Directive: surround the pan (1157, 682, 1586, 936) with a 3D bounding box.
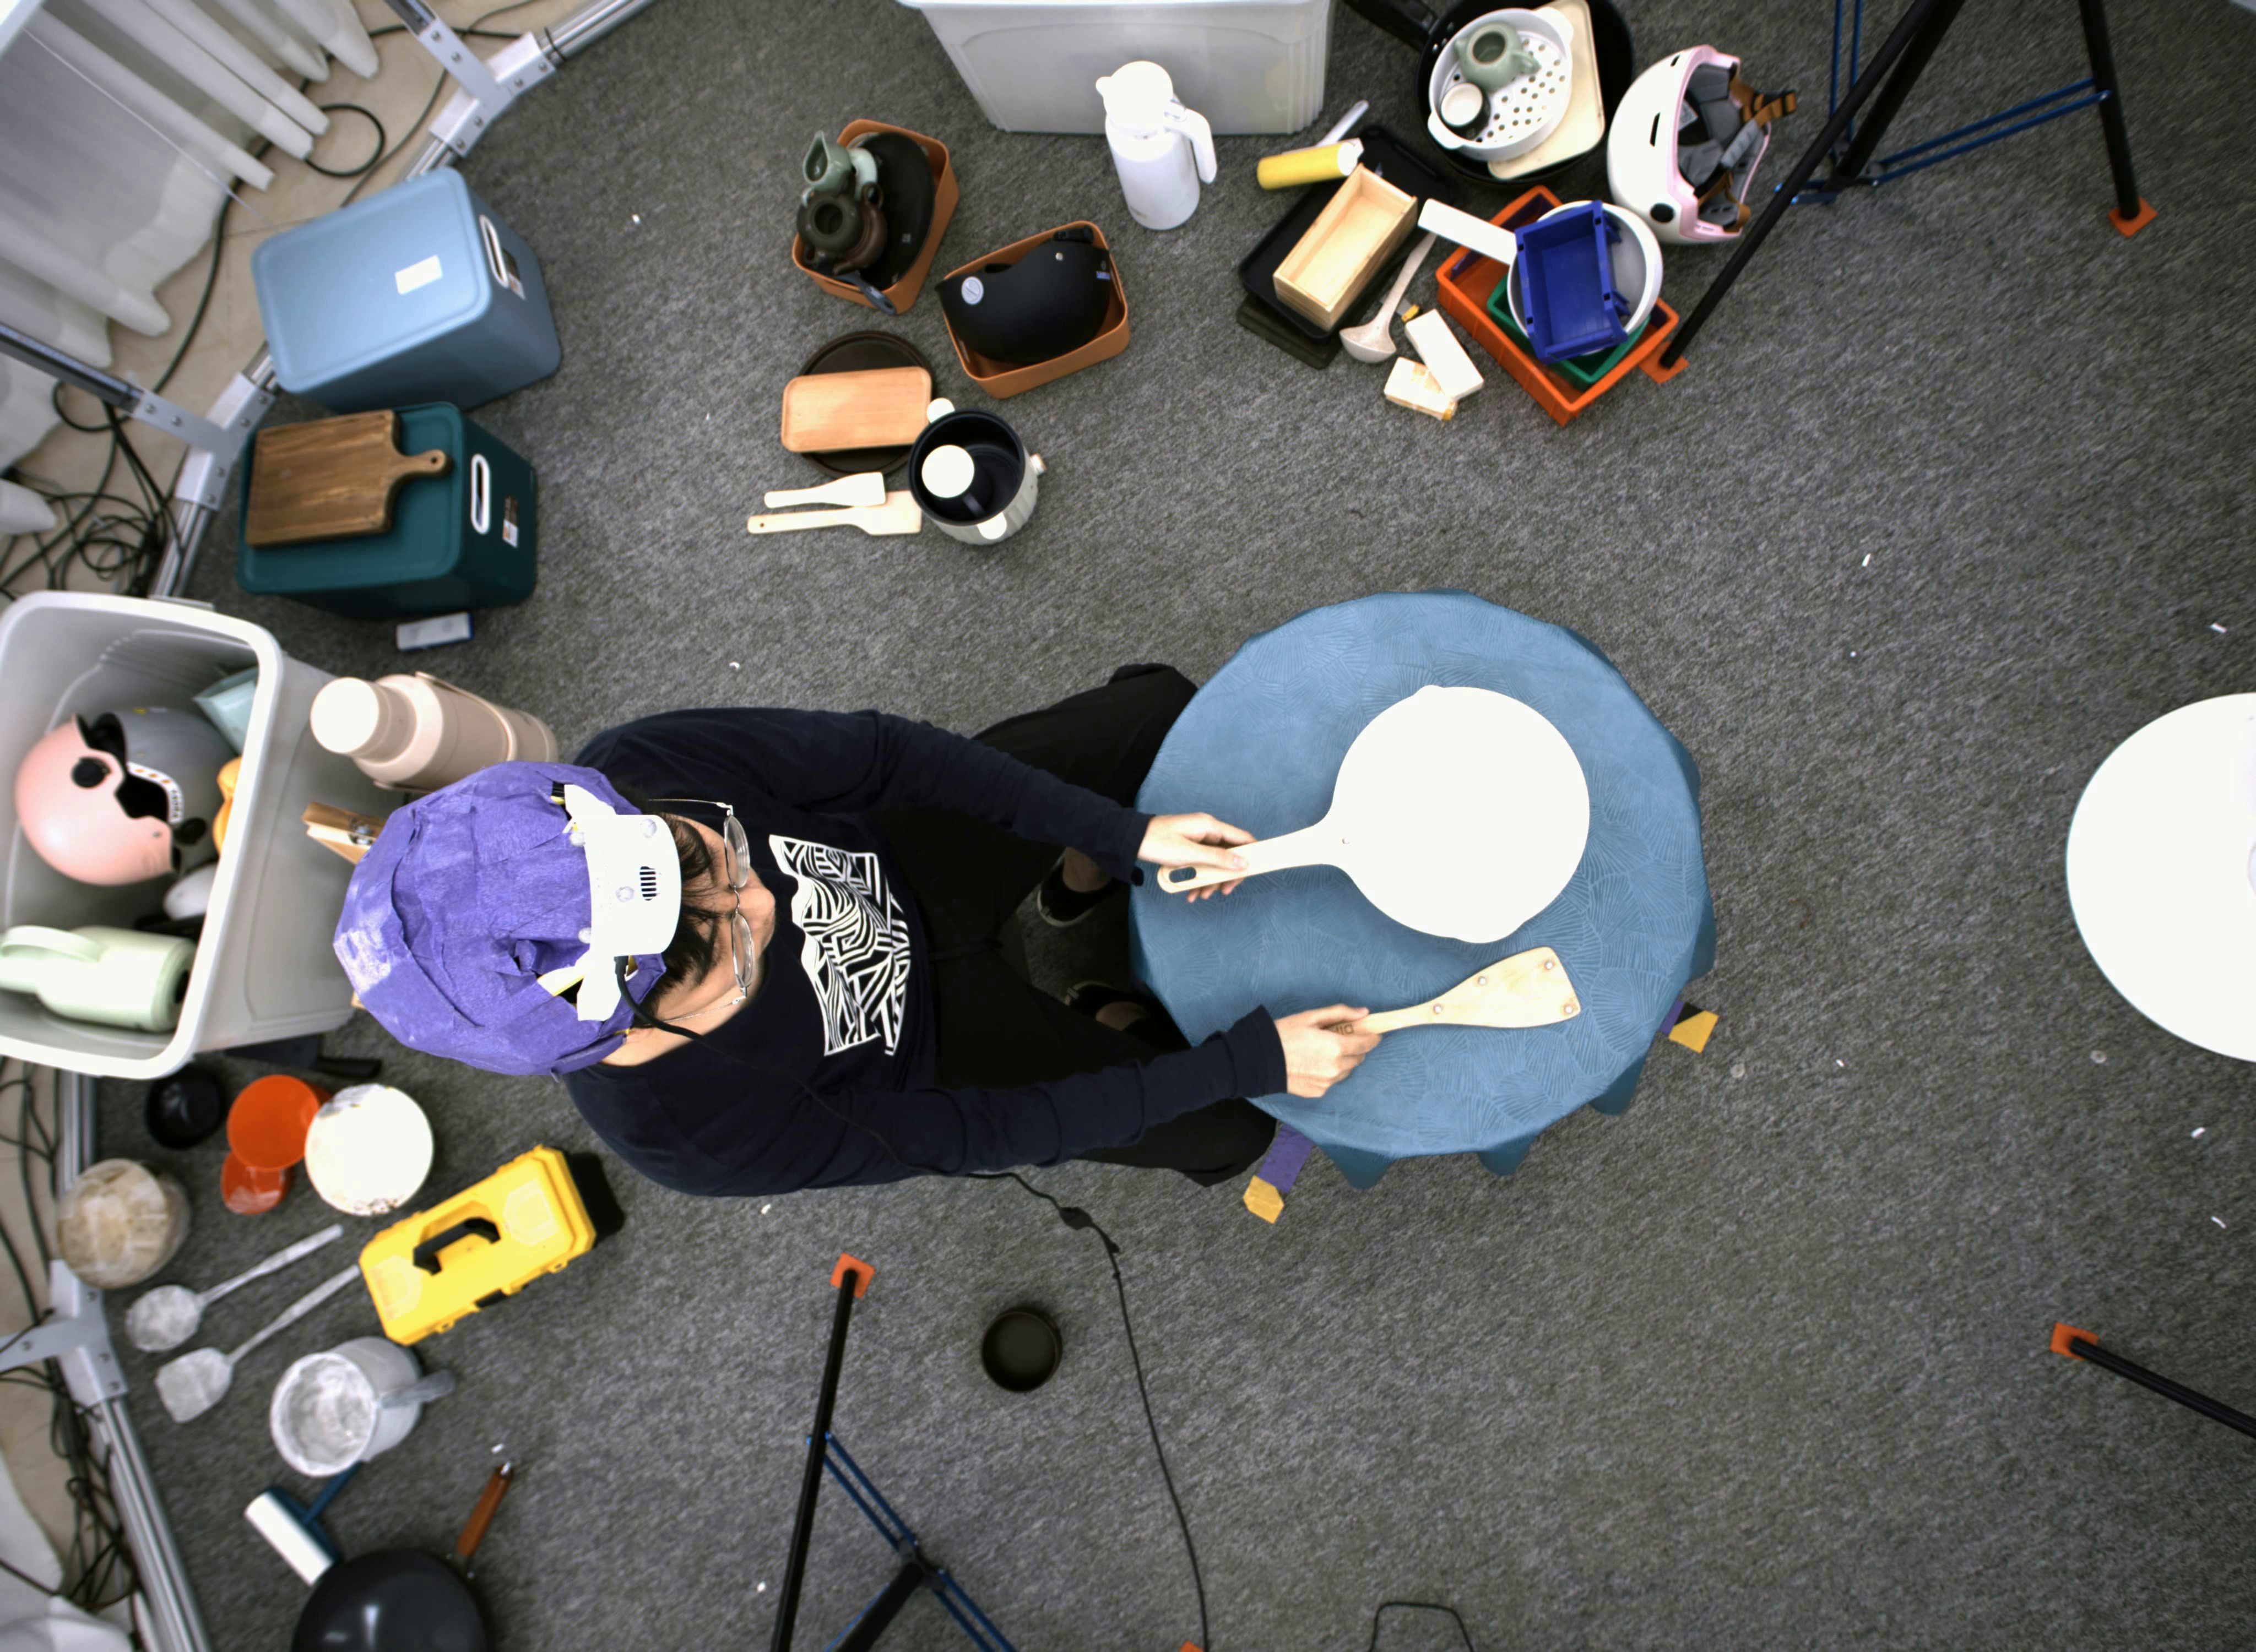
[{"bbox_3d":[0.245,0.005,1.419,0.437,0.102,0.262,-15,84,10],"label":"pan"}]

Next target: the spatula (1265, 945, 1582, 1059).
[{"bbox_3d":[0.301,0.191,1.422,0.328,0.016,0.079,-13,83,-1],"label":"spatula"}]
